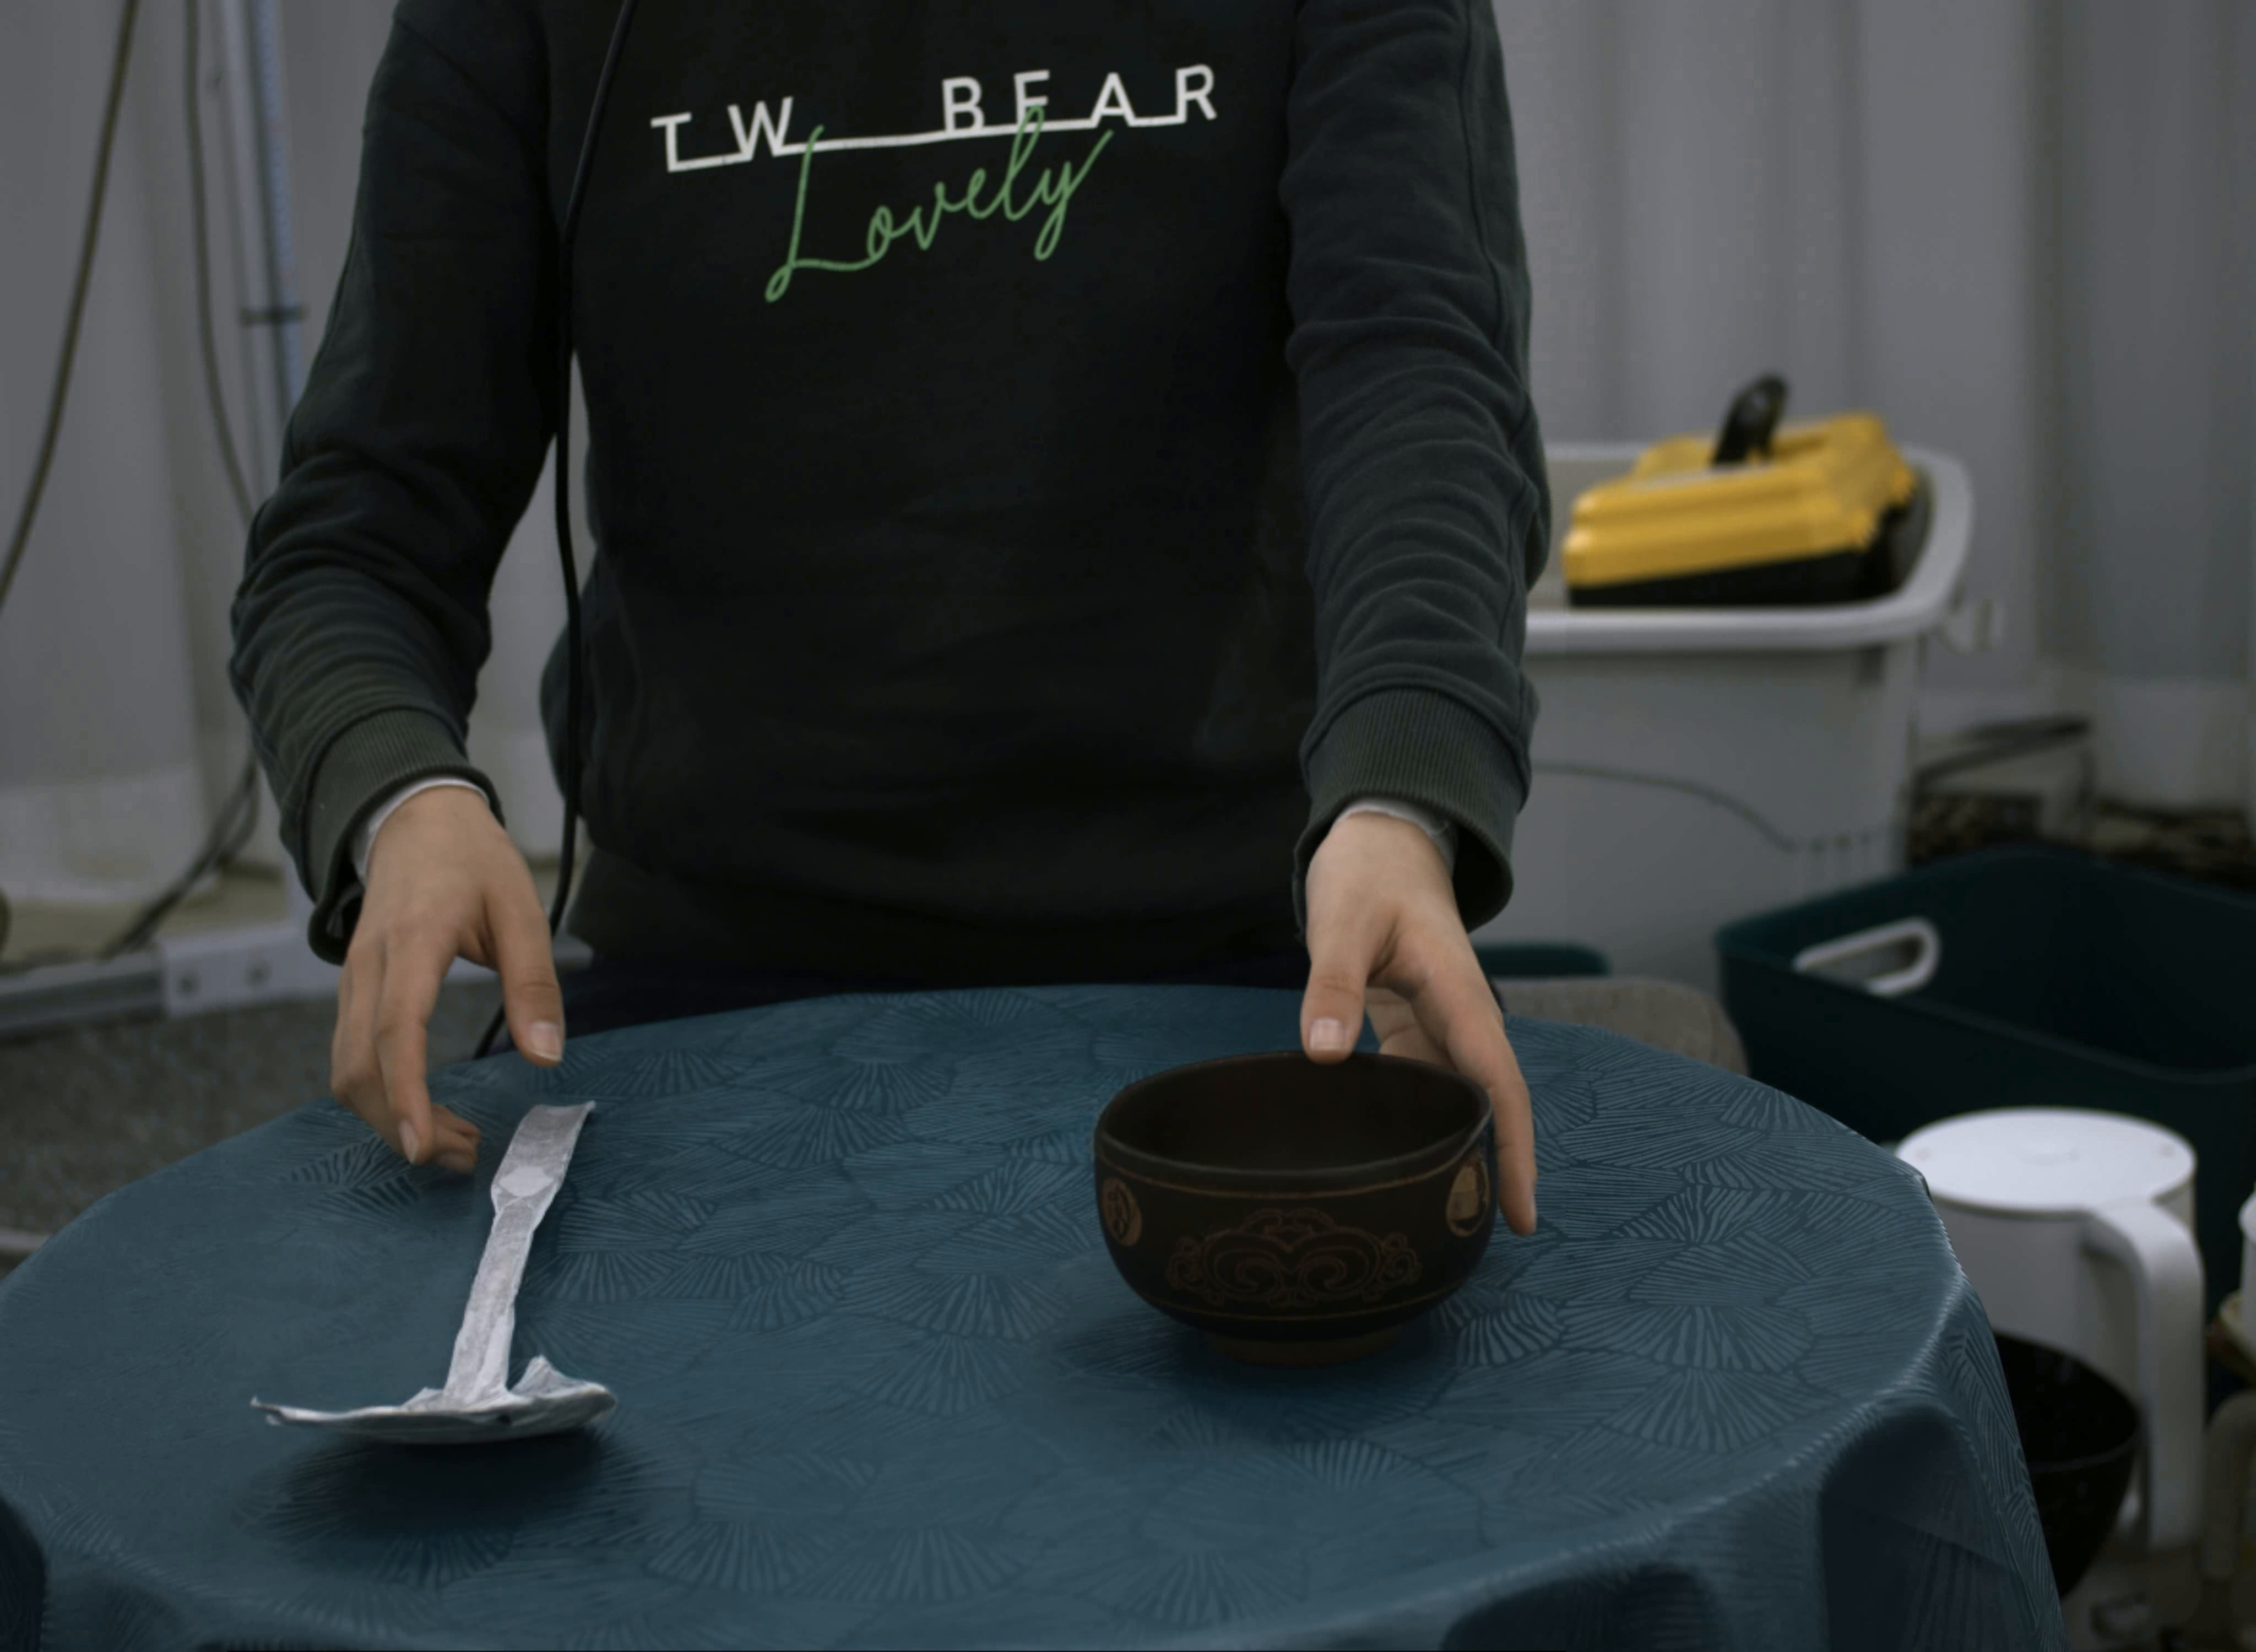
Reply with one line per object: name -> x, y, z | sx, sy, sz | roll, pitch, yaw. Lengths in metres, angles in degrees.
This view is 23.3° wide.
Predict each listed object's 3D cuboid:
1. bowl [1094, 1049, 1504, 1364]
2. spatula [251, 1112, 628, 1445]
bowl -> 0.049, 0.113, 1.574 | 0.117, 0.069, 0.119 | -1, 13, 0
spatula -> -0.183, 0.126, 1.632 | 0.098, 0.044, 0.367 | -4, 15, 2
